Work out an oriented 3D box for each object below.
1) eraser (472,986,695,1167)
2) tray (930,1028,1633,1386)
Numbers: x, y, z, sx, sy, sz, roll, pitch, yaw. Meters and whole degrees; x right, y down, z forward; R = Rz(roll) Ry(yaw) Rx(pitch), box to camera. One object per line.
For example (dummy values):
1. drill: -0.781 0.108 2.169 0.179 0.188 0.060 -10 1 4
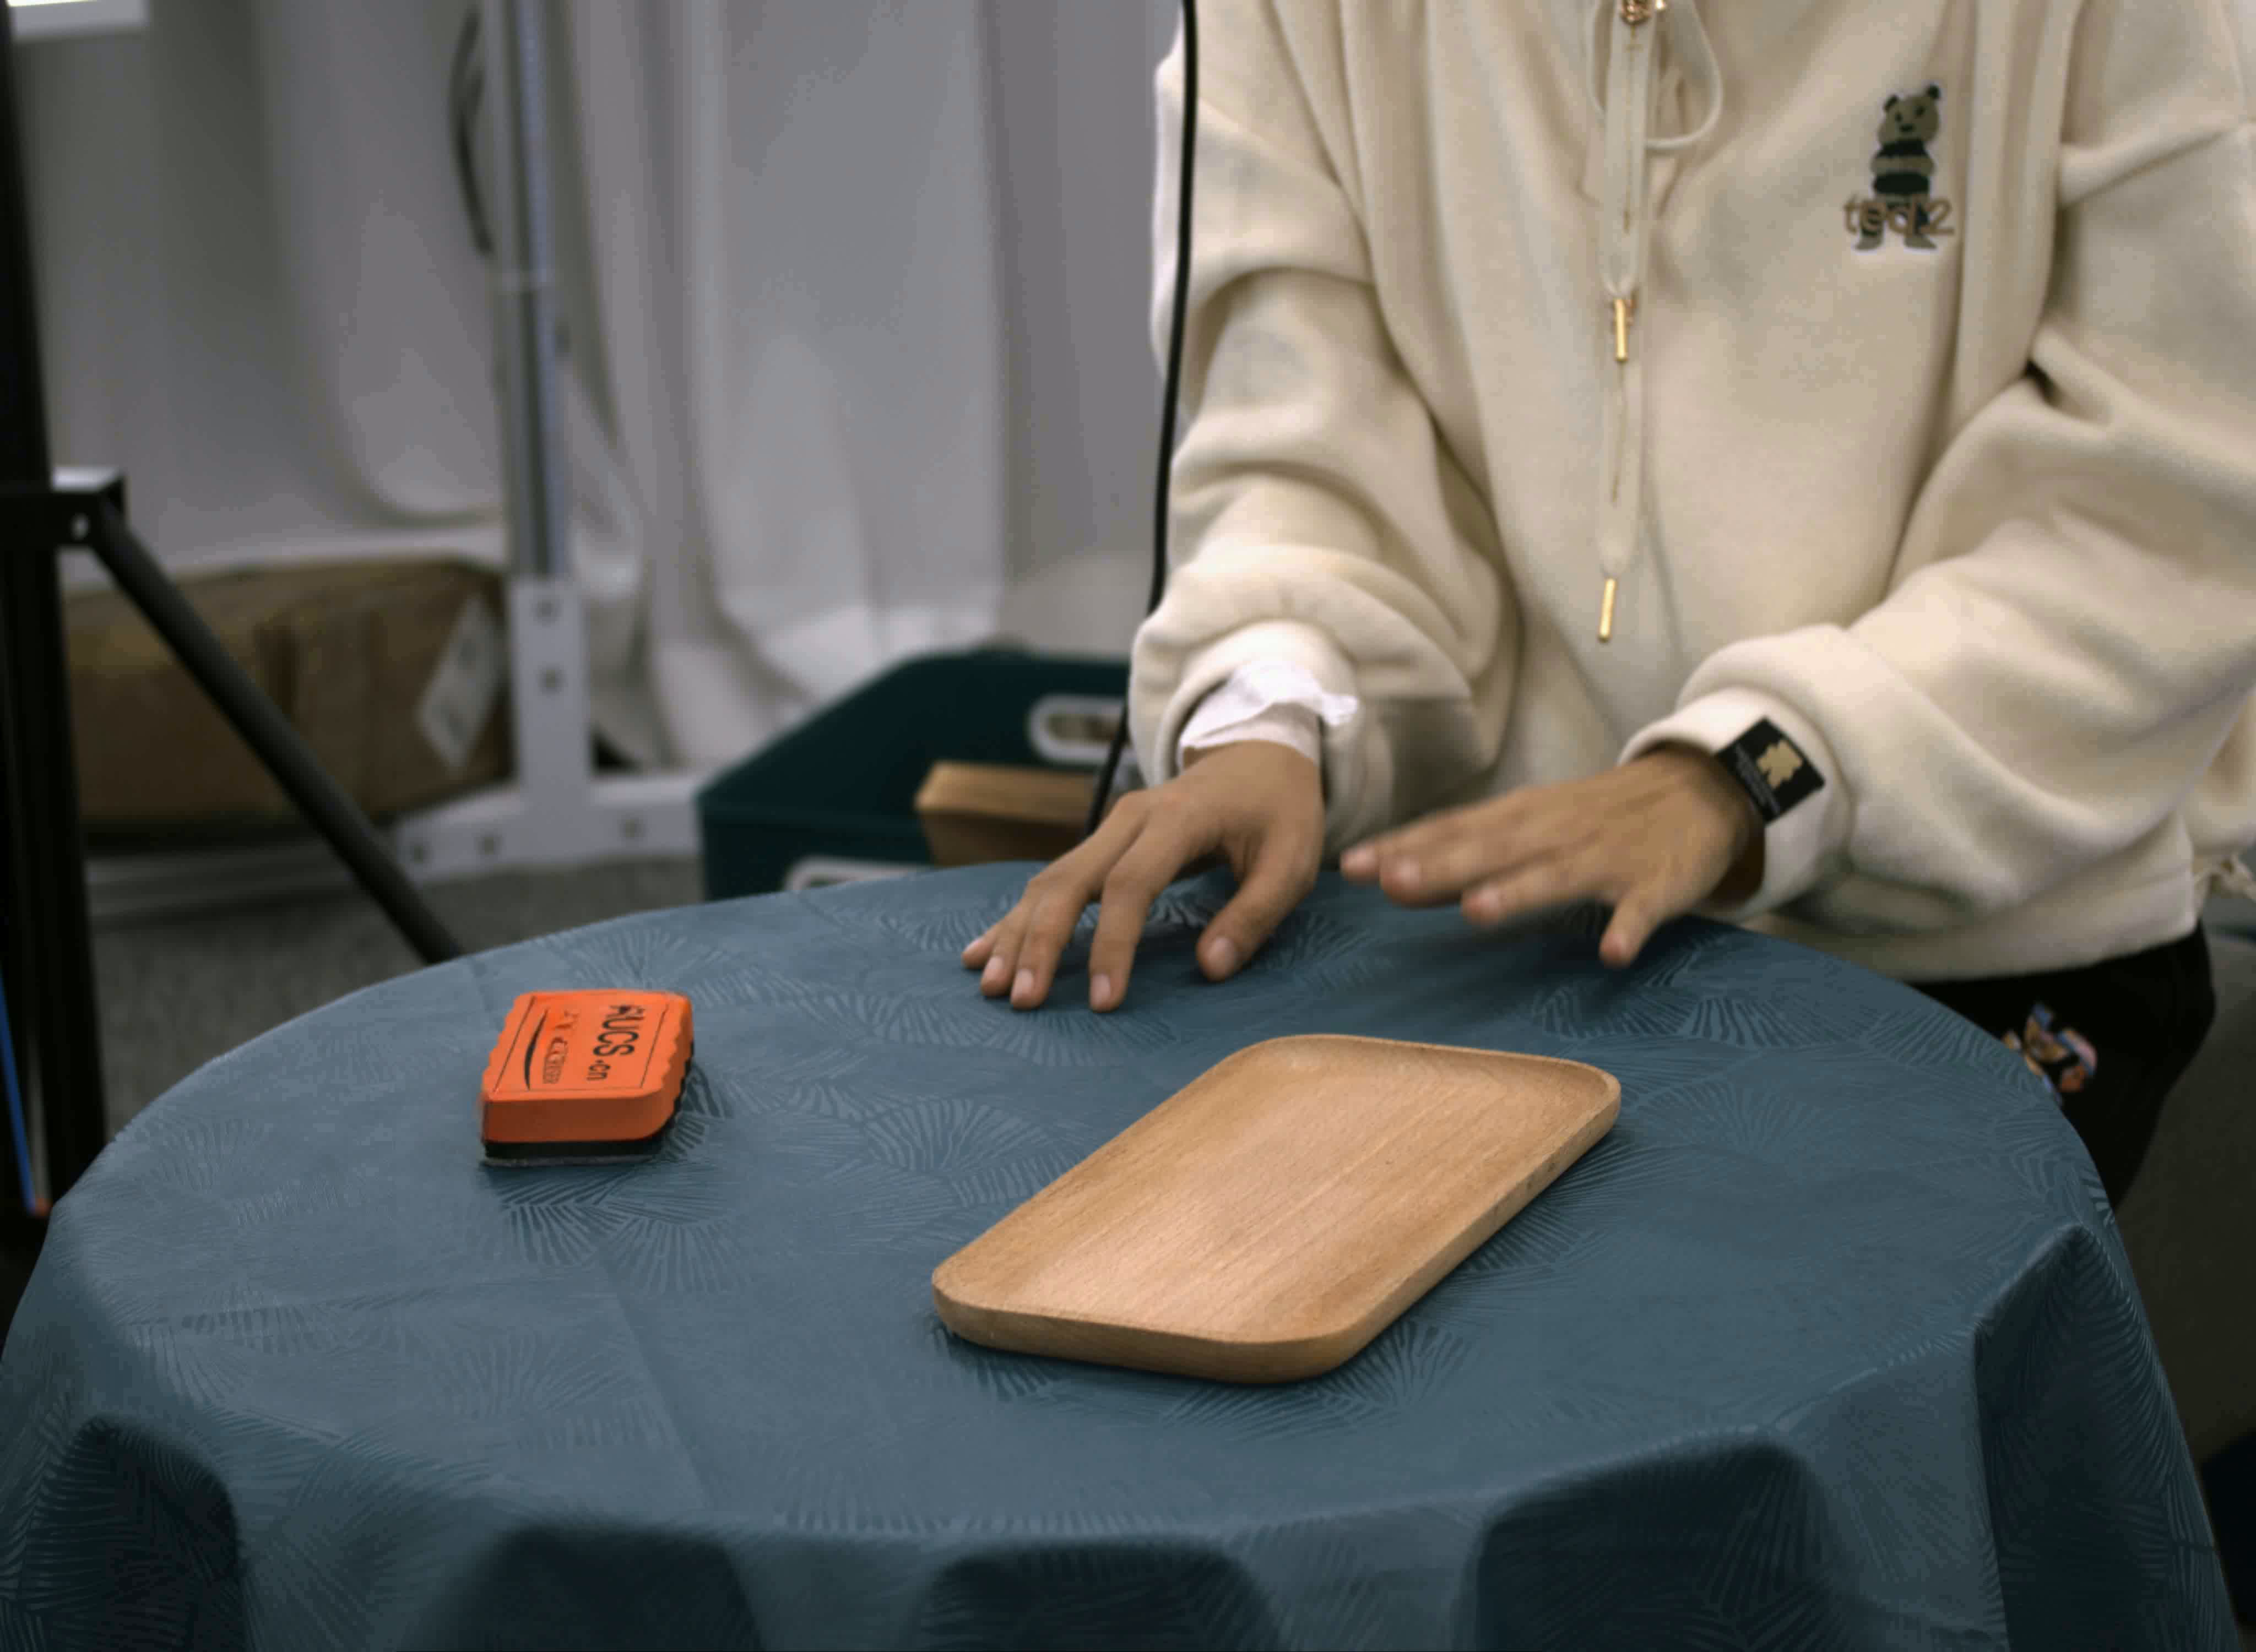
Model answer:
1. eraser: -0.168 0.077 1.653 0.059 0.023 0.108 -3 16 3
2. tray: 0.049 0.106 1.521 0.133 0.023 0.246 8 19 26
